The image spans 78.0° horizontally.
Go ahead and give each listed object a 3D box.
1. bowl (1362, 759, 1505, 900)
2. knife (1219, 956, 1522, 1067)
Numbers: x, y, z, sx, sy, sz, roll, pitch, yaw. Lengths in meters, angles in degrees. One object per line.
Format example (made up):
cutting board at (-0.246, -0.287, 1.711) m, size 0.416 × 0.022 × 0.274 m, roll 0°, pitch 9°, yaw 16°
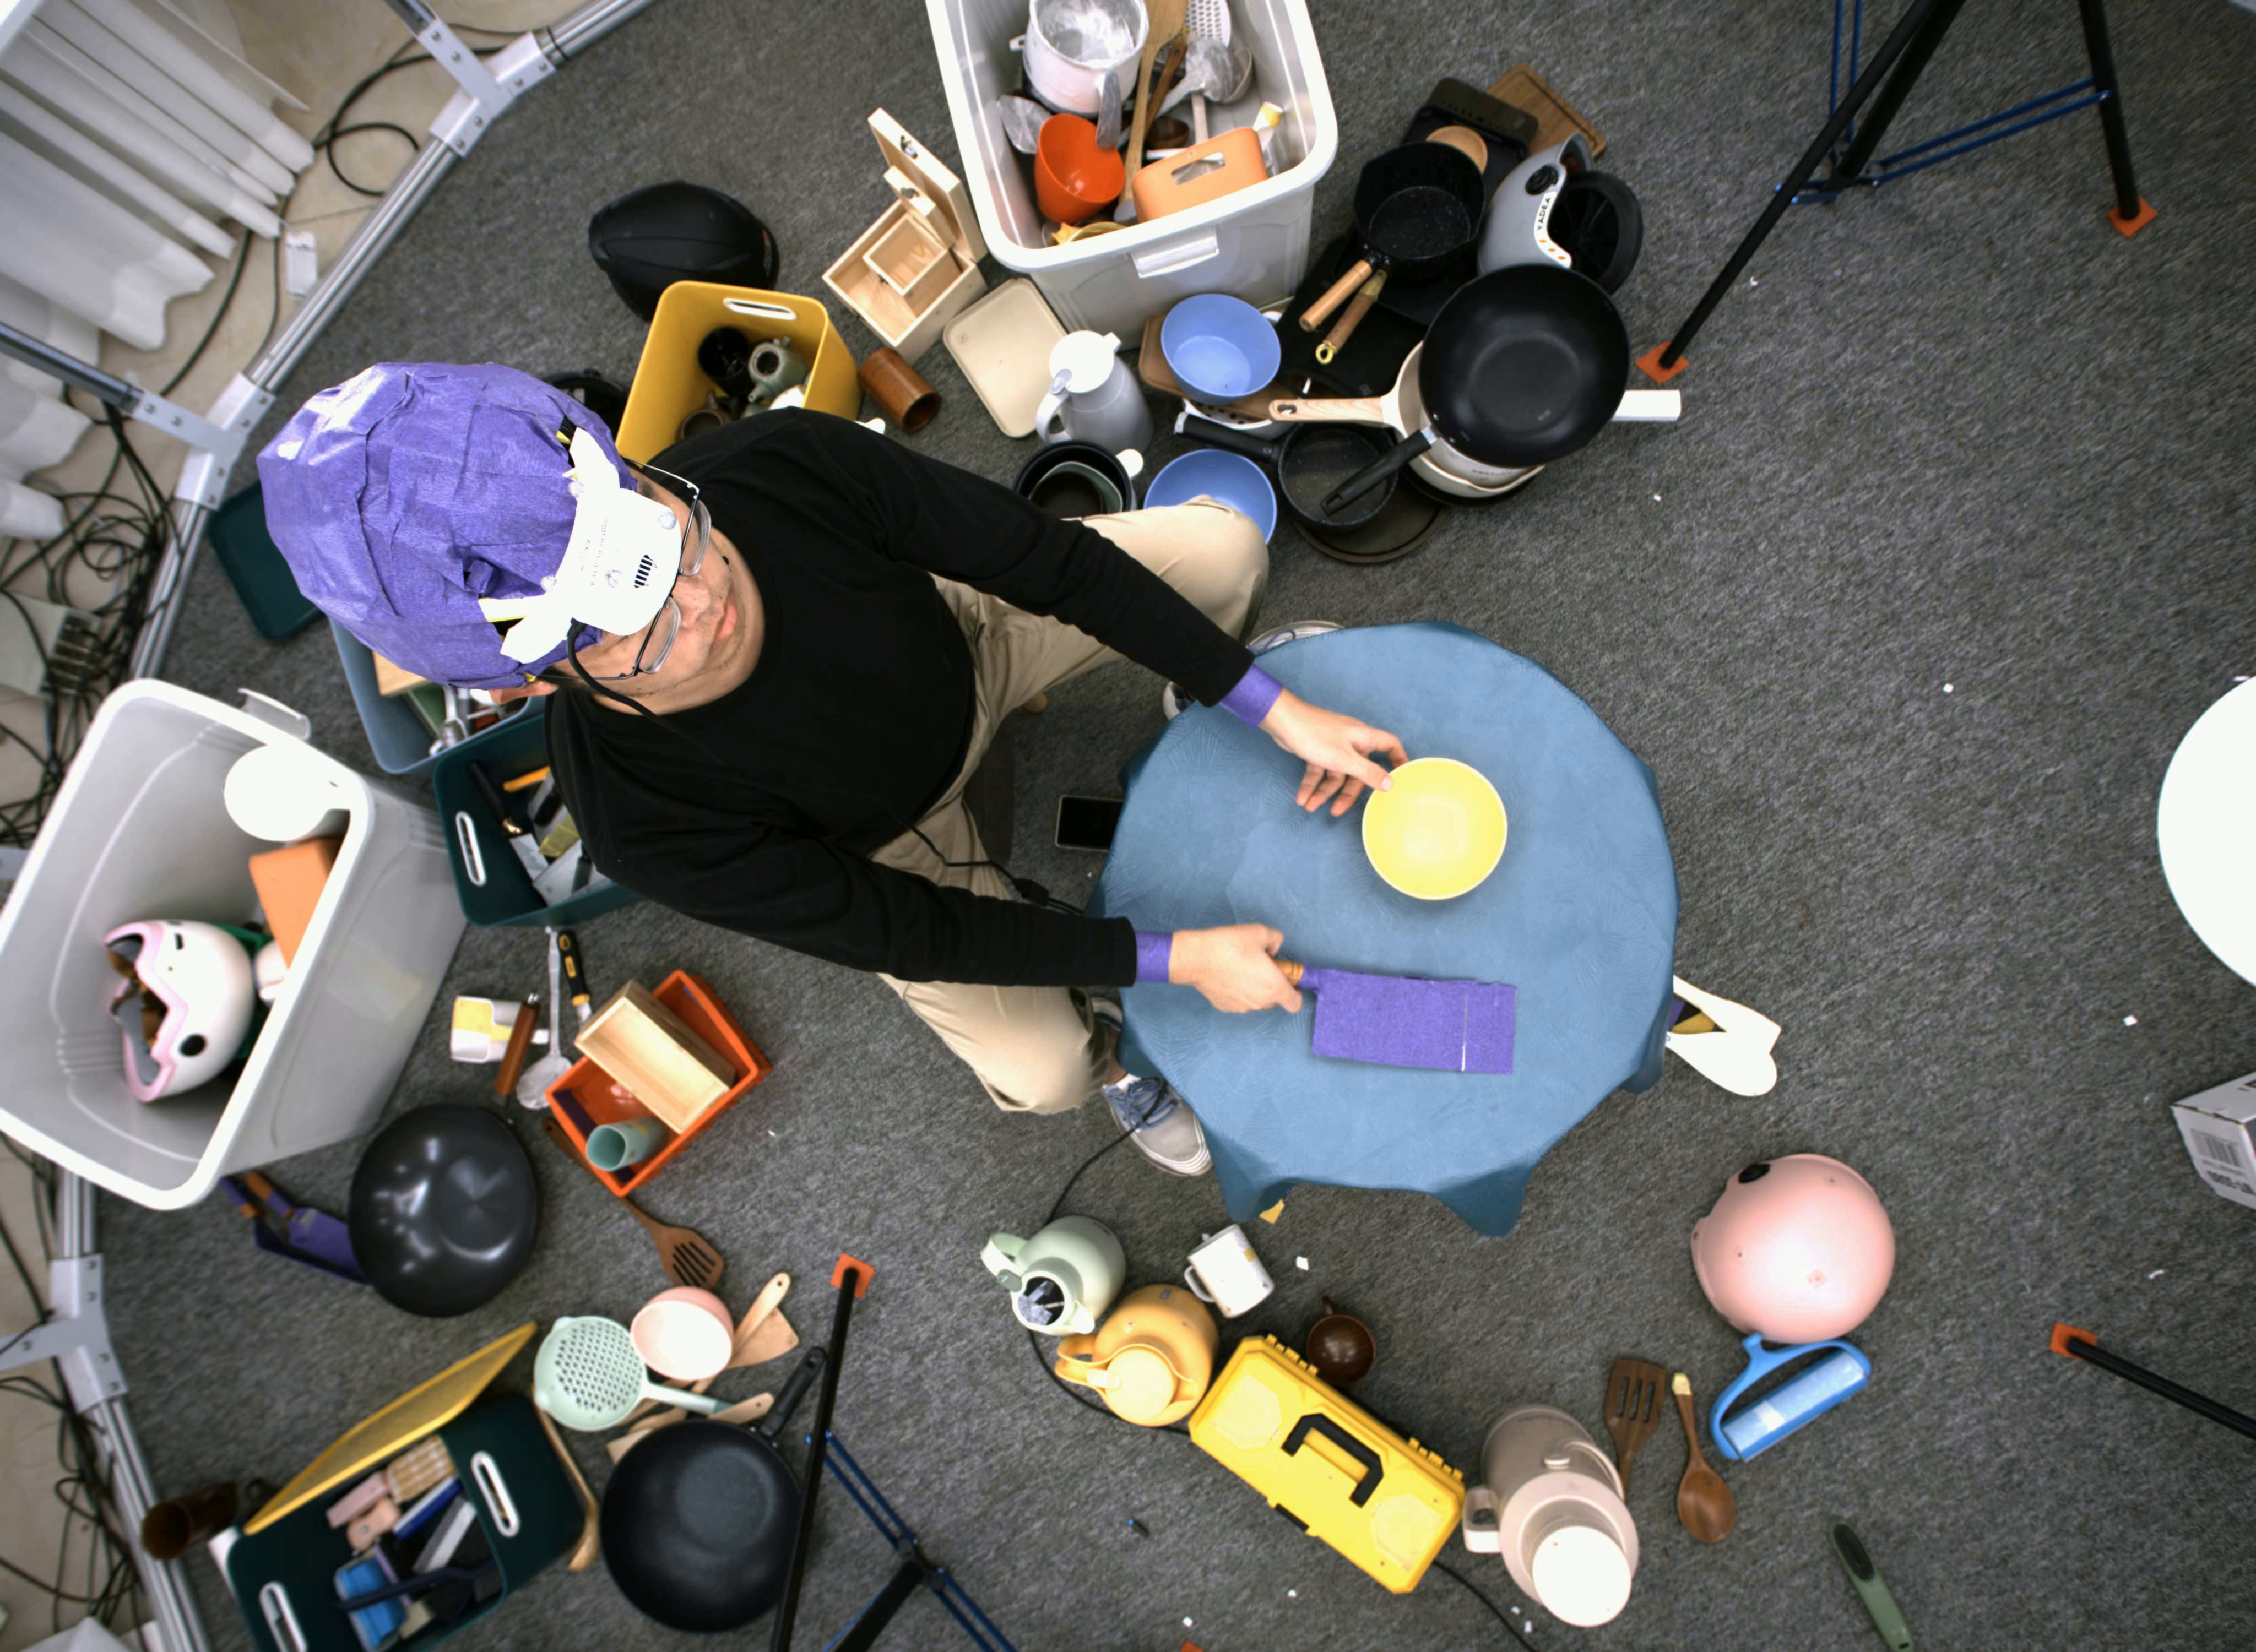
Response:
bowl at (0.314, 0.005, 1.425) m, size 0.146 × 0.060 × 0.144 m, roll -1°, pitch 85°, yaw 10°
knife at (0.249, 0.192, 1.434) m, size 0.316 × 0.032 × 0.103 m, roll 5°, pitch 88°, yaw 6°
